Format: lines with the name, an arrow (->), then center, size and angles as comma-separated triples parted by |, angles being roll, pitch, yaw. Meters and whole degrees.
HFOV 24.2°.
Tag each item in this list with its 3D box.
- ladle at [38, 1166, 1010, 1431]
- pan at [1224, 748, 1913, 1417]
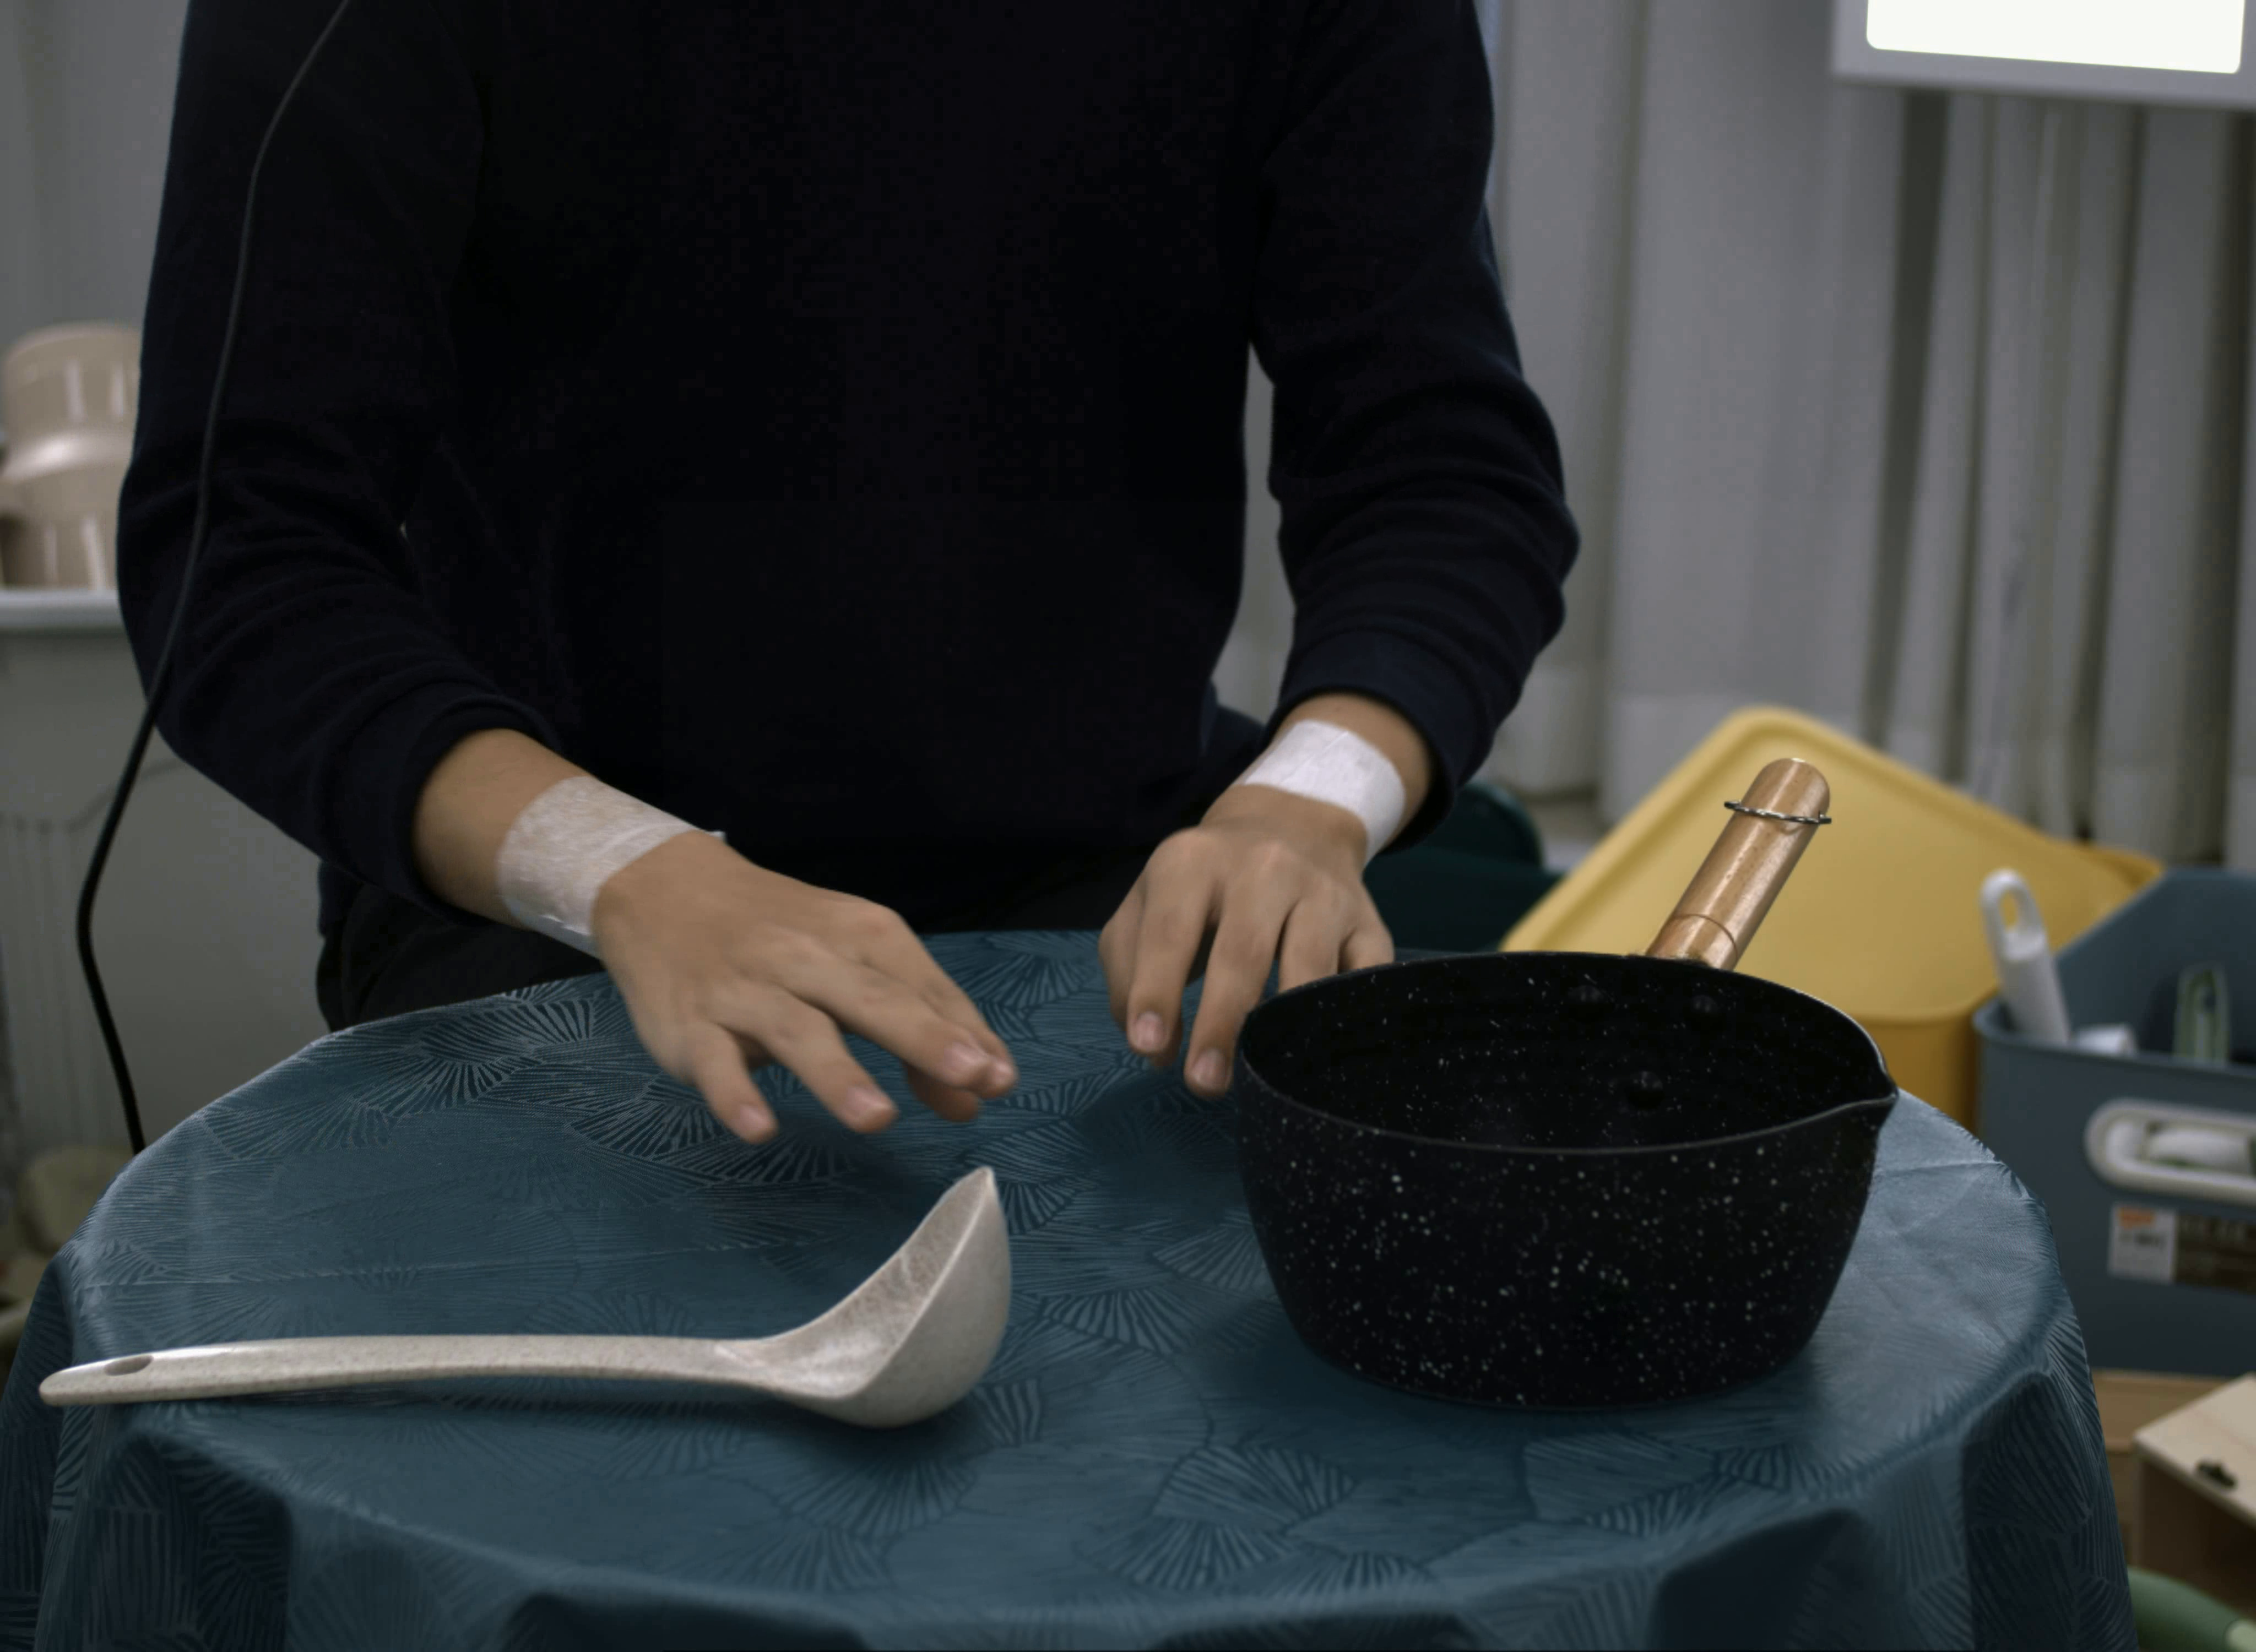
ladle -> -0.168, 0.130, 1.443 | 0.273, 0.070, 0.089 | -1, 25, 5
pan -> 0.151, 0.070, 1.574 | 0.205, 0.109, 0.343 | 5, 18, 21
